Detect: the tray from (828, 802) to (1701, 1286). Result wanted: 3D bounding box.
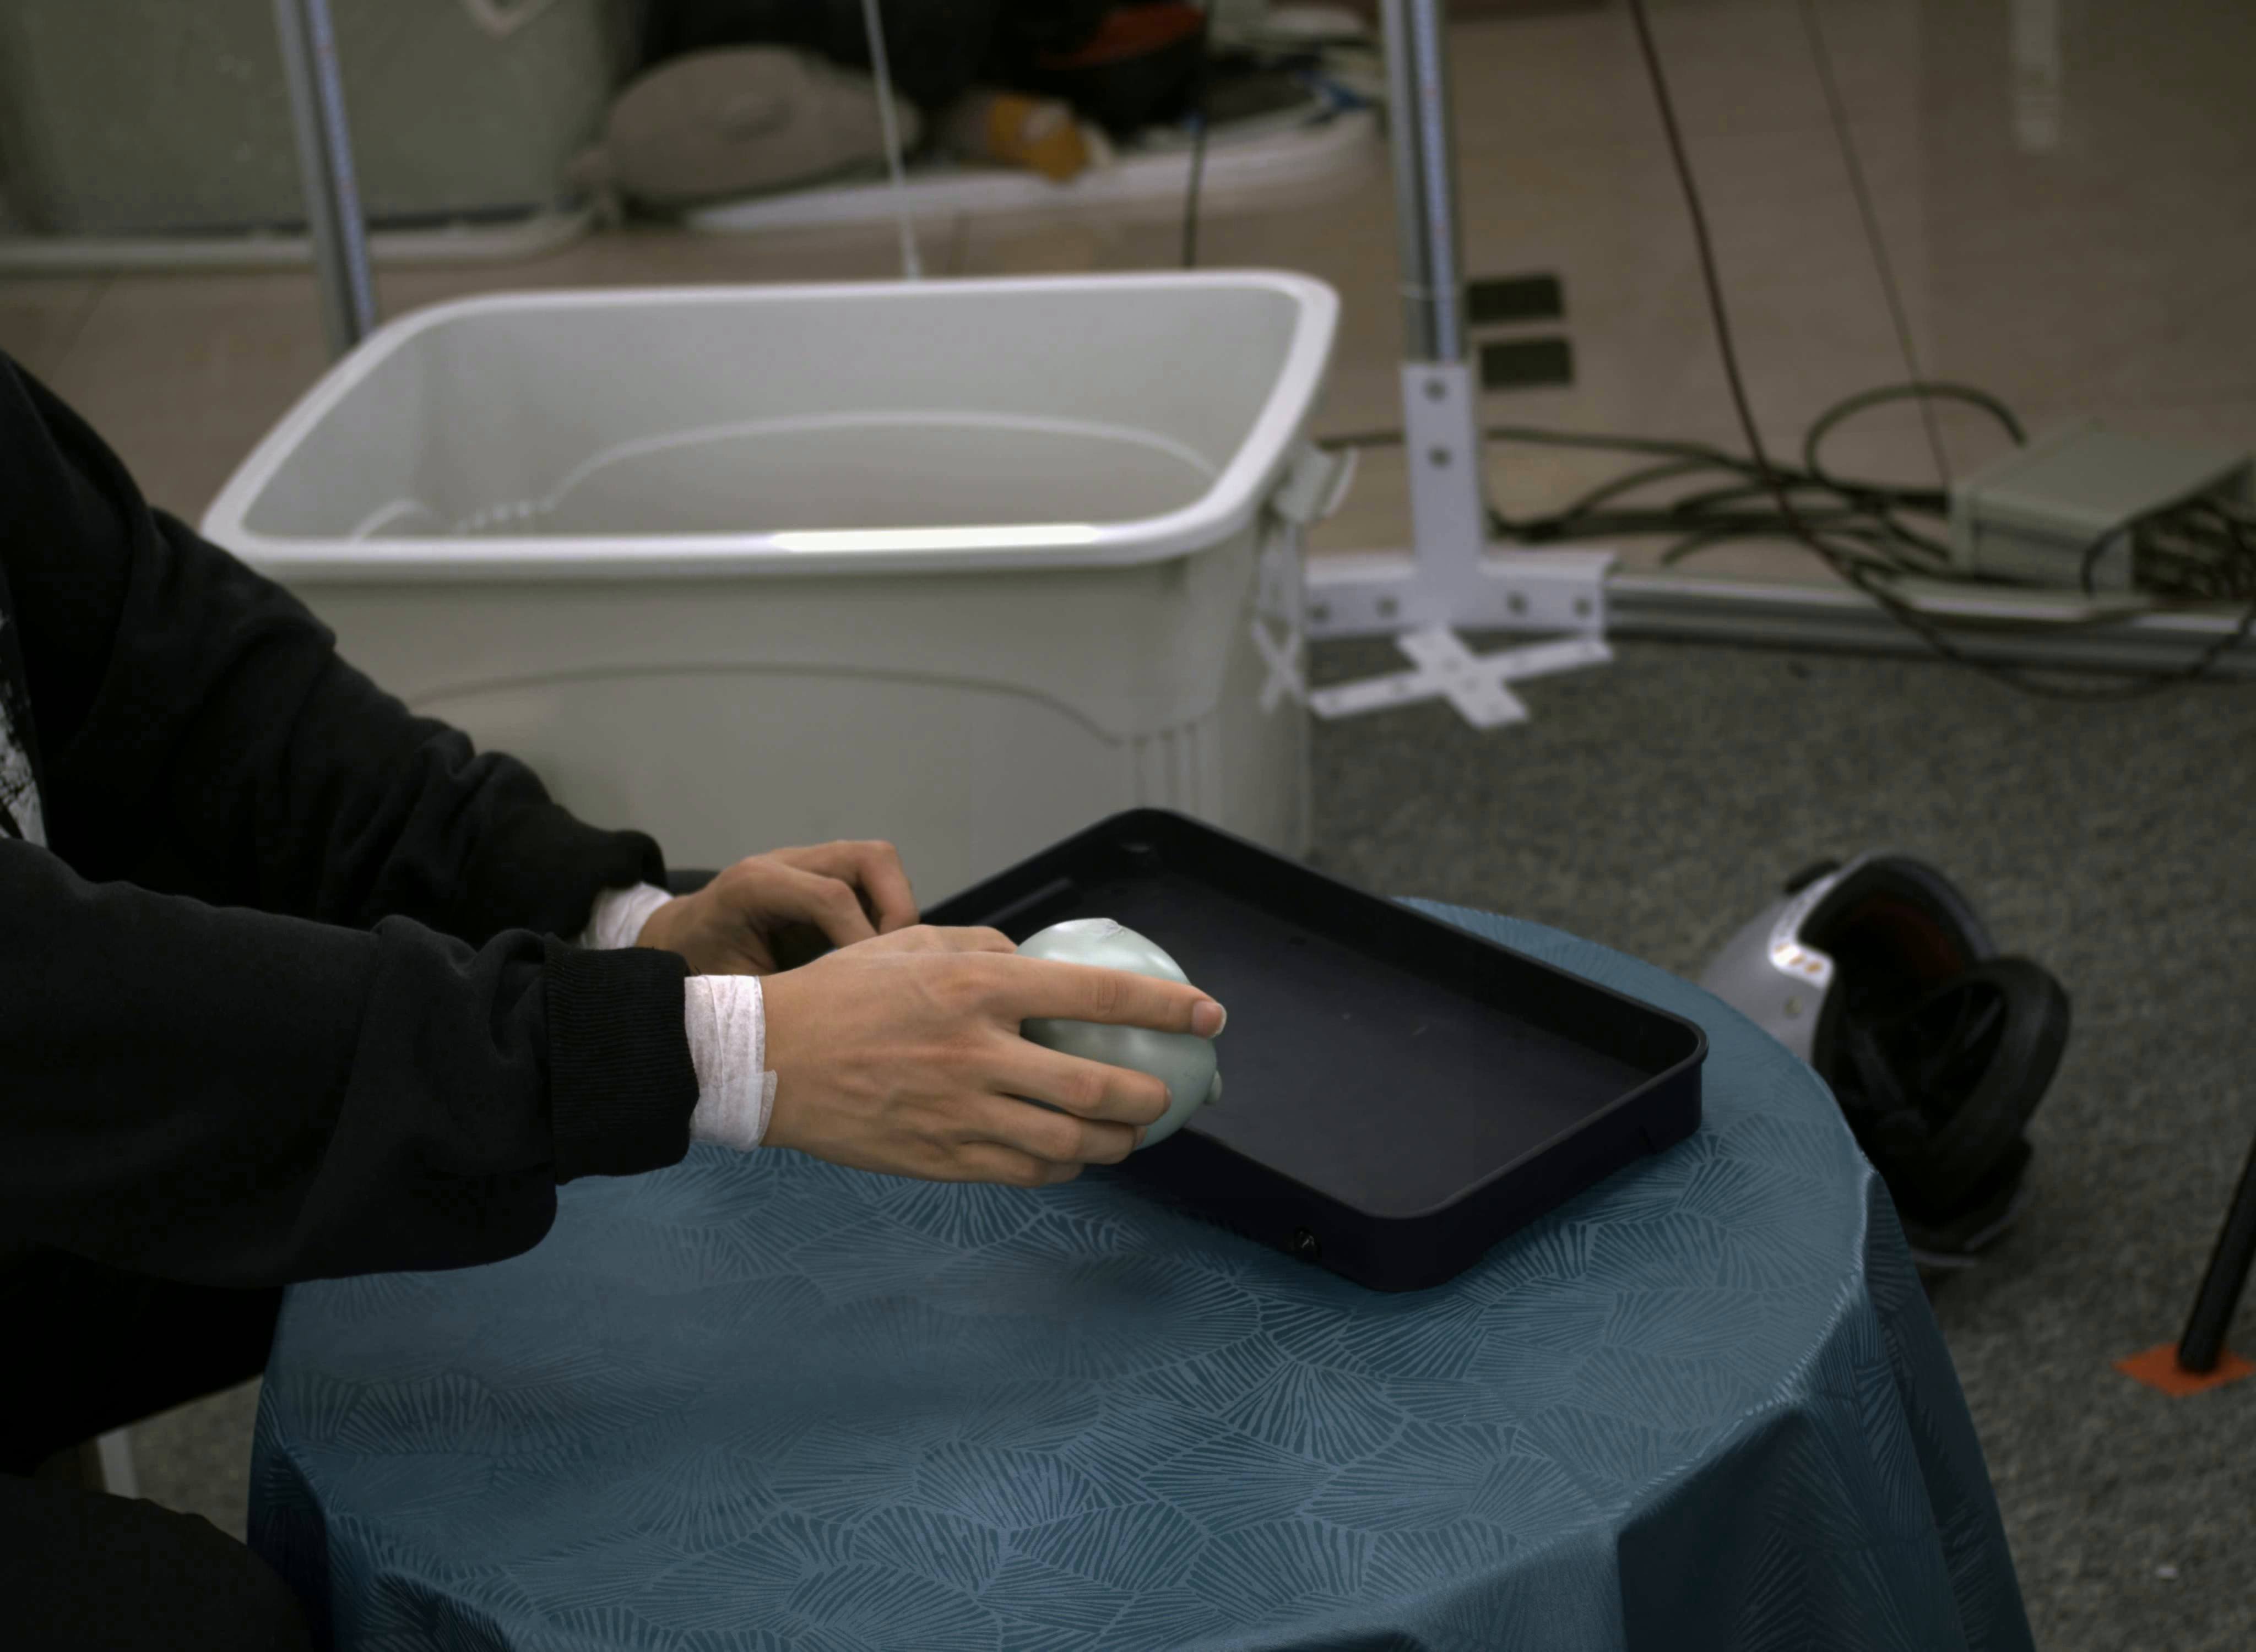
[{"bbox_3d":[0.050,0.080,2.199,0.315,0.037,0.182,22,38,39],"label":"tray"}]

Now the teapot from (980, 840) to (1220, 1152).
[{"bbox_3d":[-0.010,0.075,2.051,0.087,0.146,0.074,21,58,39],"label":"teapot"}]
